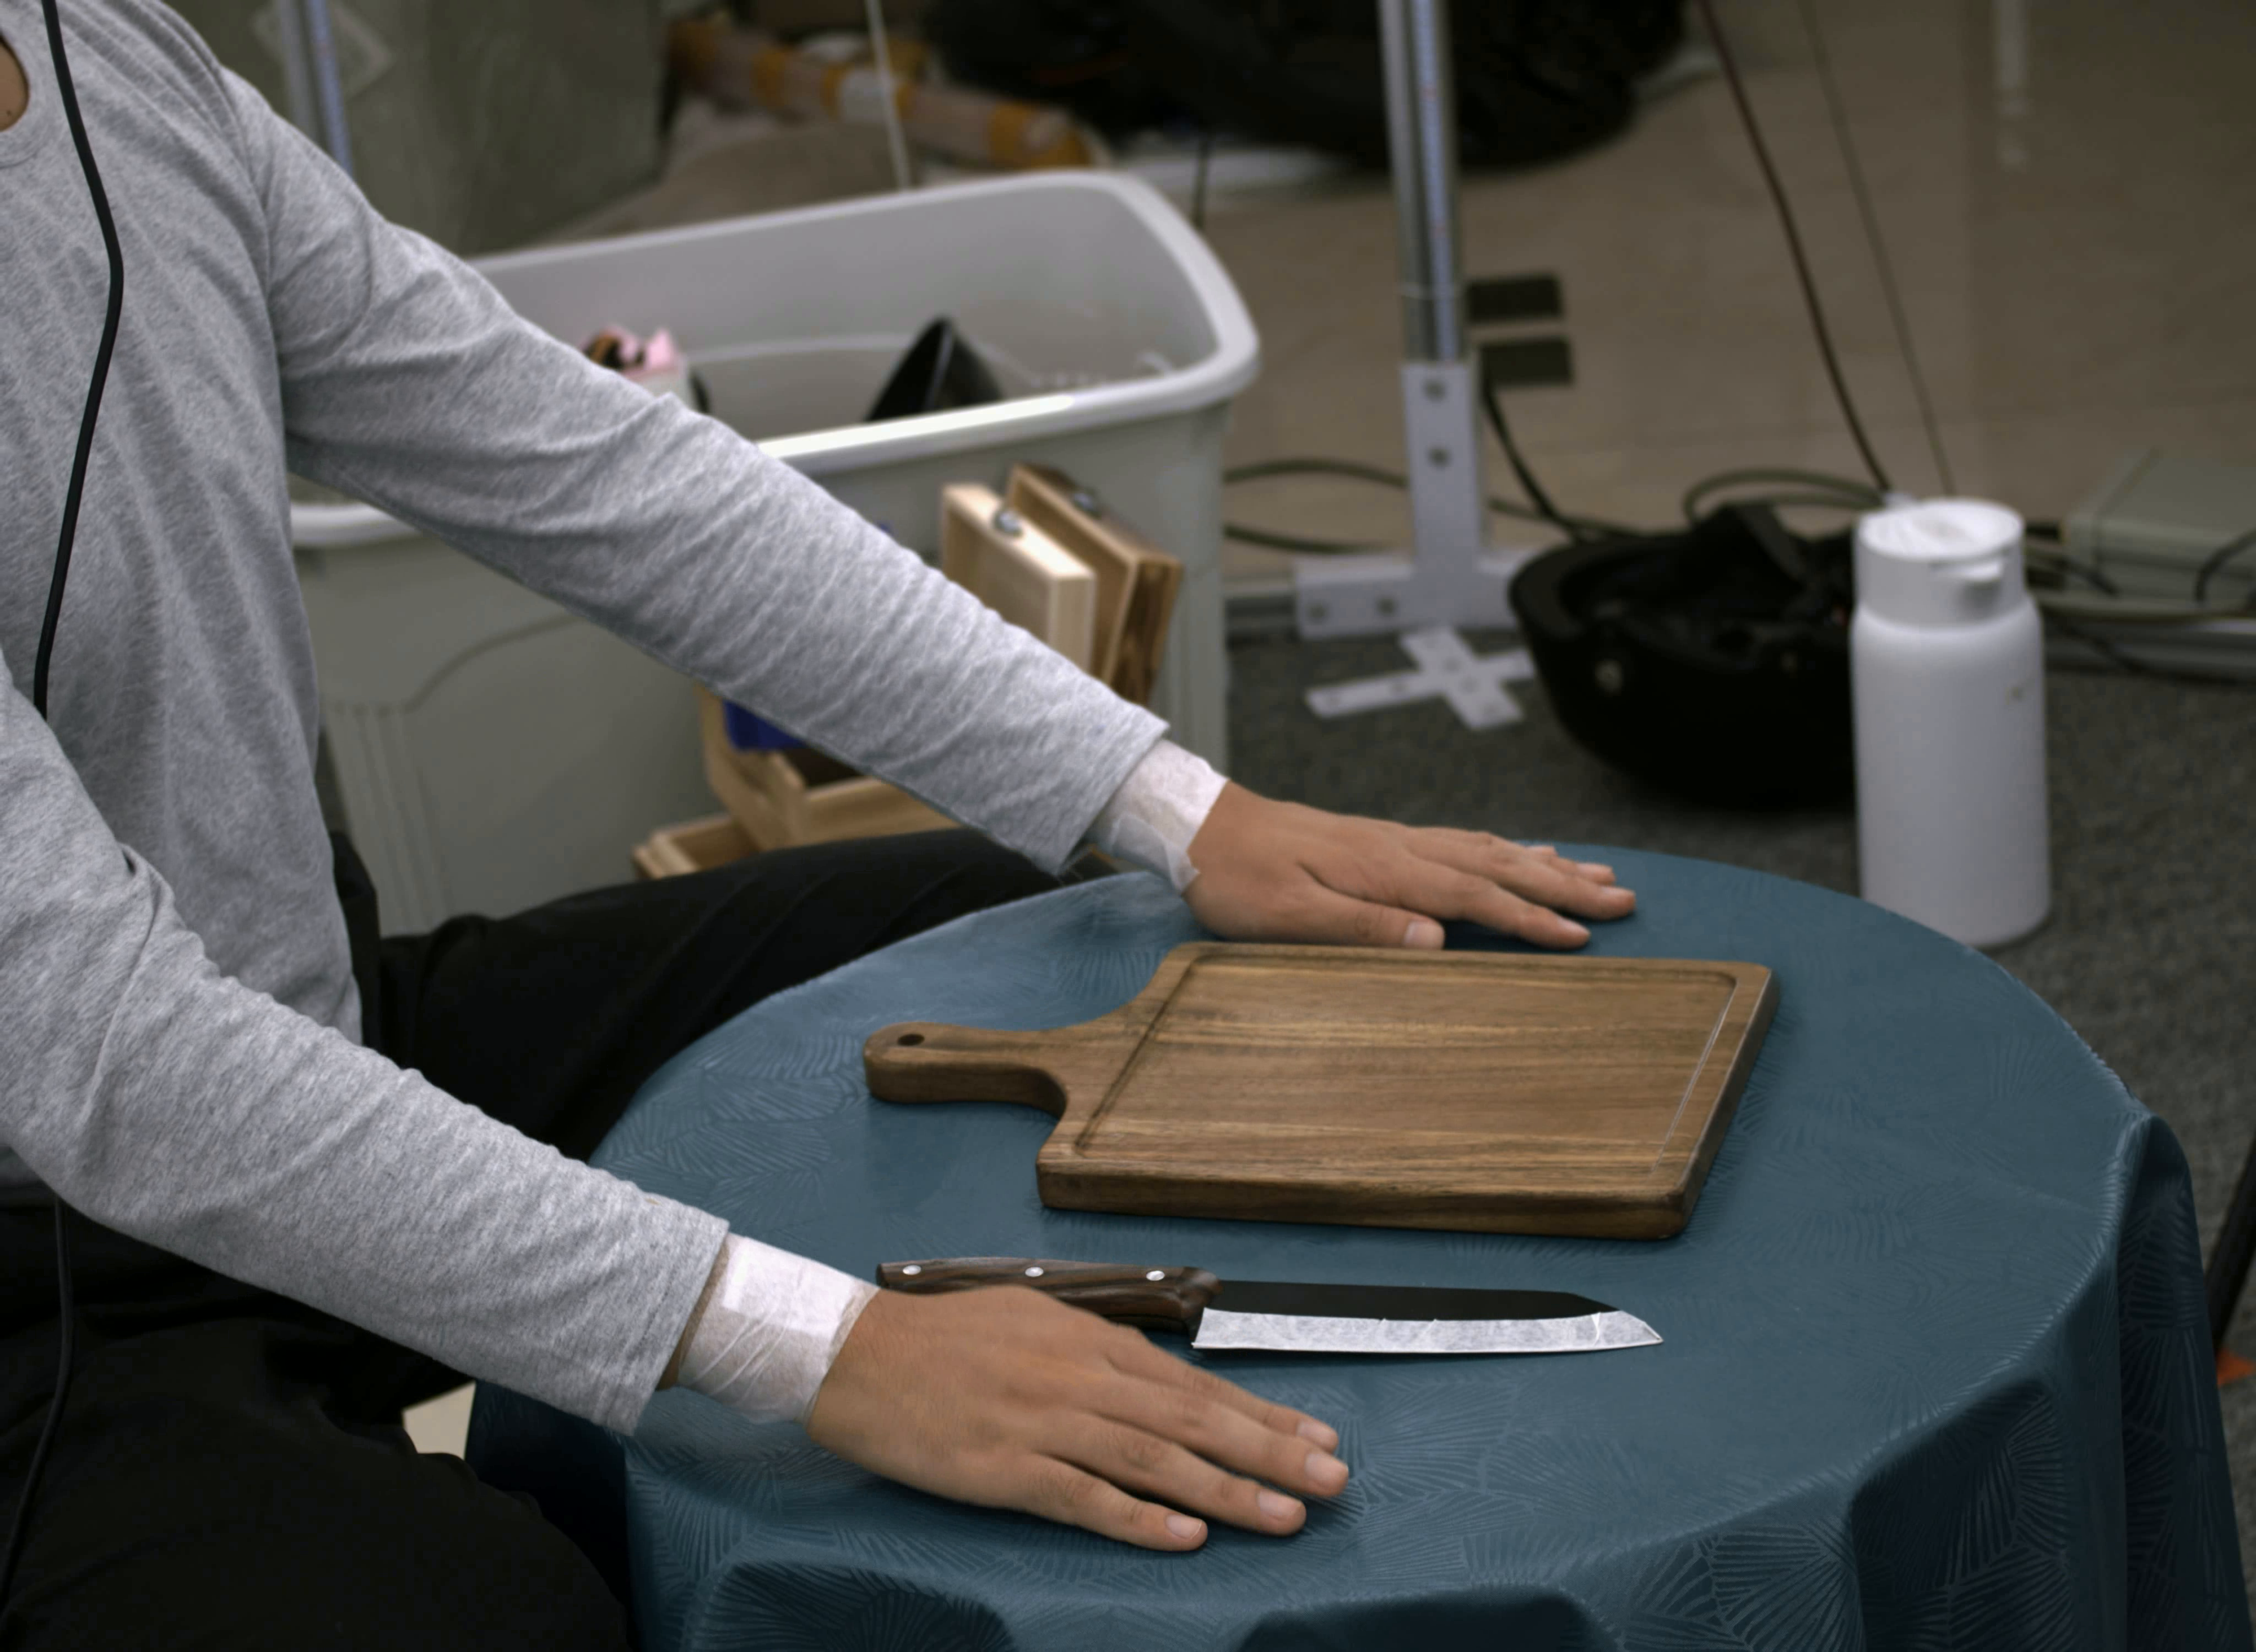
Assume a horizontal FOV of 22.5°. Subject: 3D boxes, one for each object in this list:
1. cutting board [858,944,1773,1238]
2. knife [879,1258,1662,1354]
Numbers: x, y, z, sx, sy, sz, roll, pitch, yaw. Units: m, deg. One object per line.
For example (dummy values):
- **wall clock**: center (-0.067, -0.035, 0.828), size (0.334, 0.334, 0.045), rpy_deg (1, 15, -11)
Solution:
- **cutting board**: center (0.062, 0.097, 2.202), size (0.351, 0.023, 0.198), rpy_deg (2, 25, 18)
- **knife**: center (0.049, 0.175, 2.044), size (0.288, 0.020, 0.049), rpy_deg (2, 30, 12)
